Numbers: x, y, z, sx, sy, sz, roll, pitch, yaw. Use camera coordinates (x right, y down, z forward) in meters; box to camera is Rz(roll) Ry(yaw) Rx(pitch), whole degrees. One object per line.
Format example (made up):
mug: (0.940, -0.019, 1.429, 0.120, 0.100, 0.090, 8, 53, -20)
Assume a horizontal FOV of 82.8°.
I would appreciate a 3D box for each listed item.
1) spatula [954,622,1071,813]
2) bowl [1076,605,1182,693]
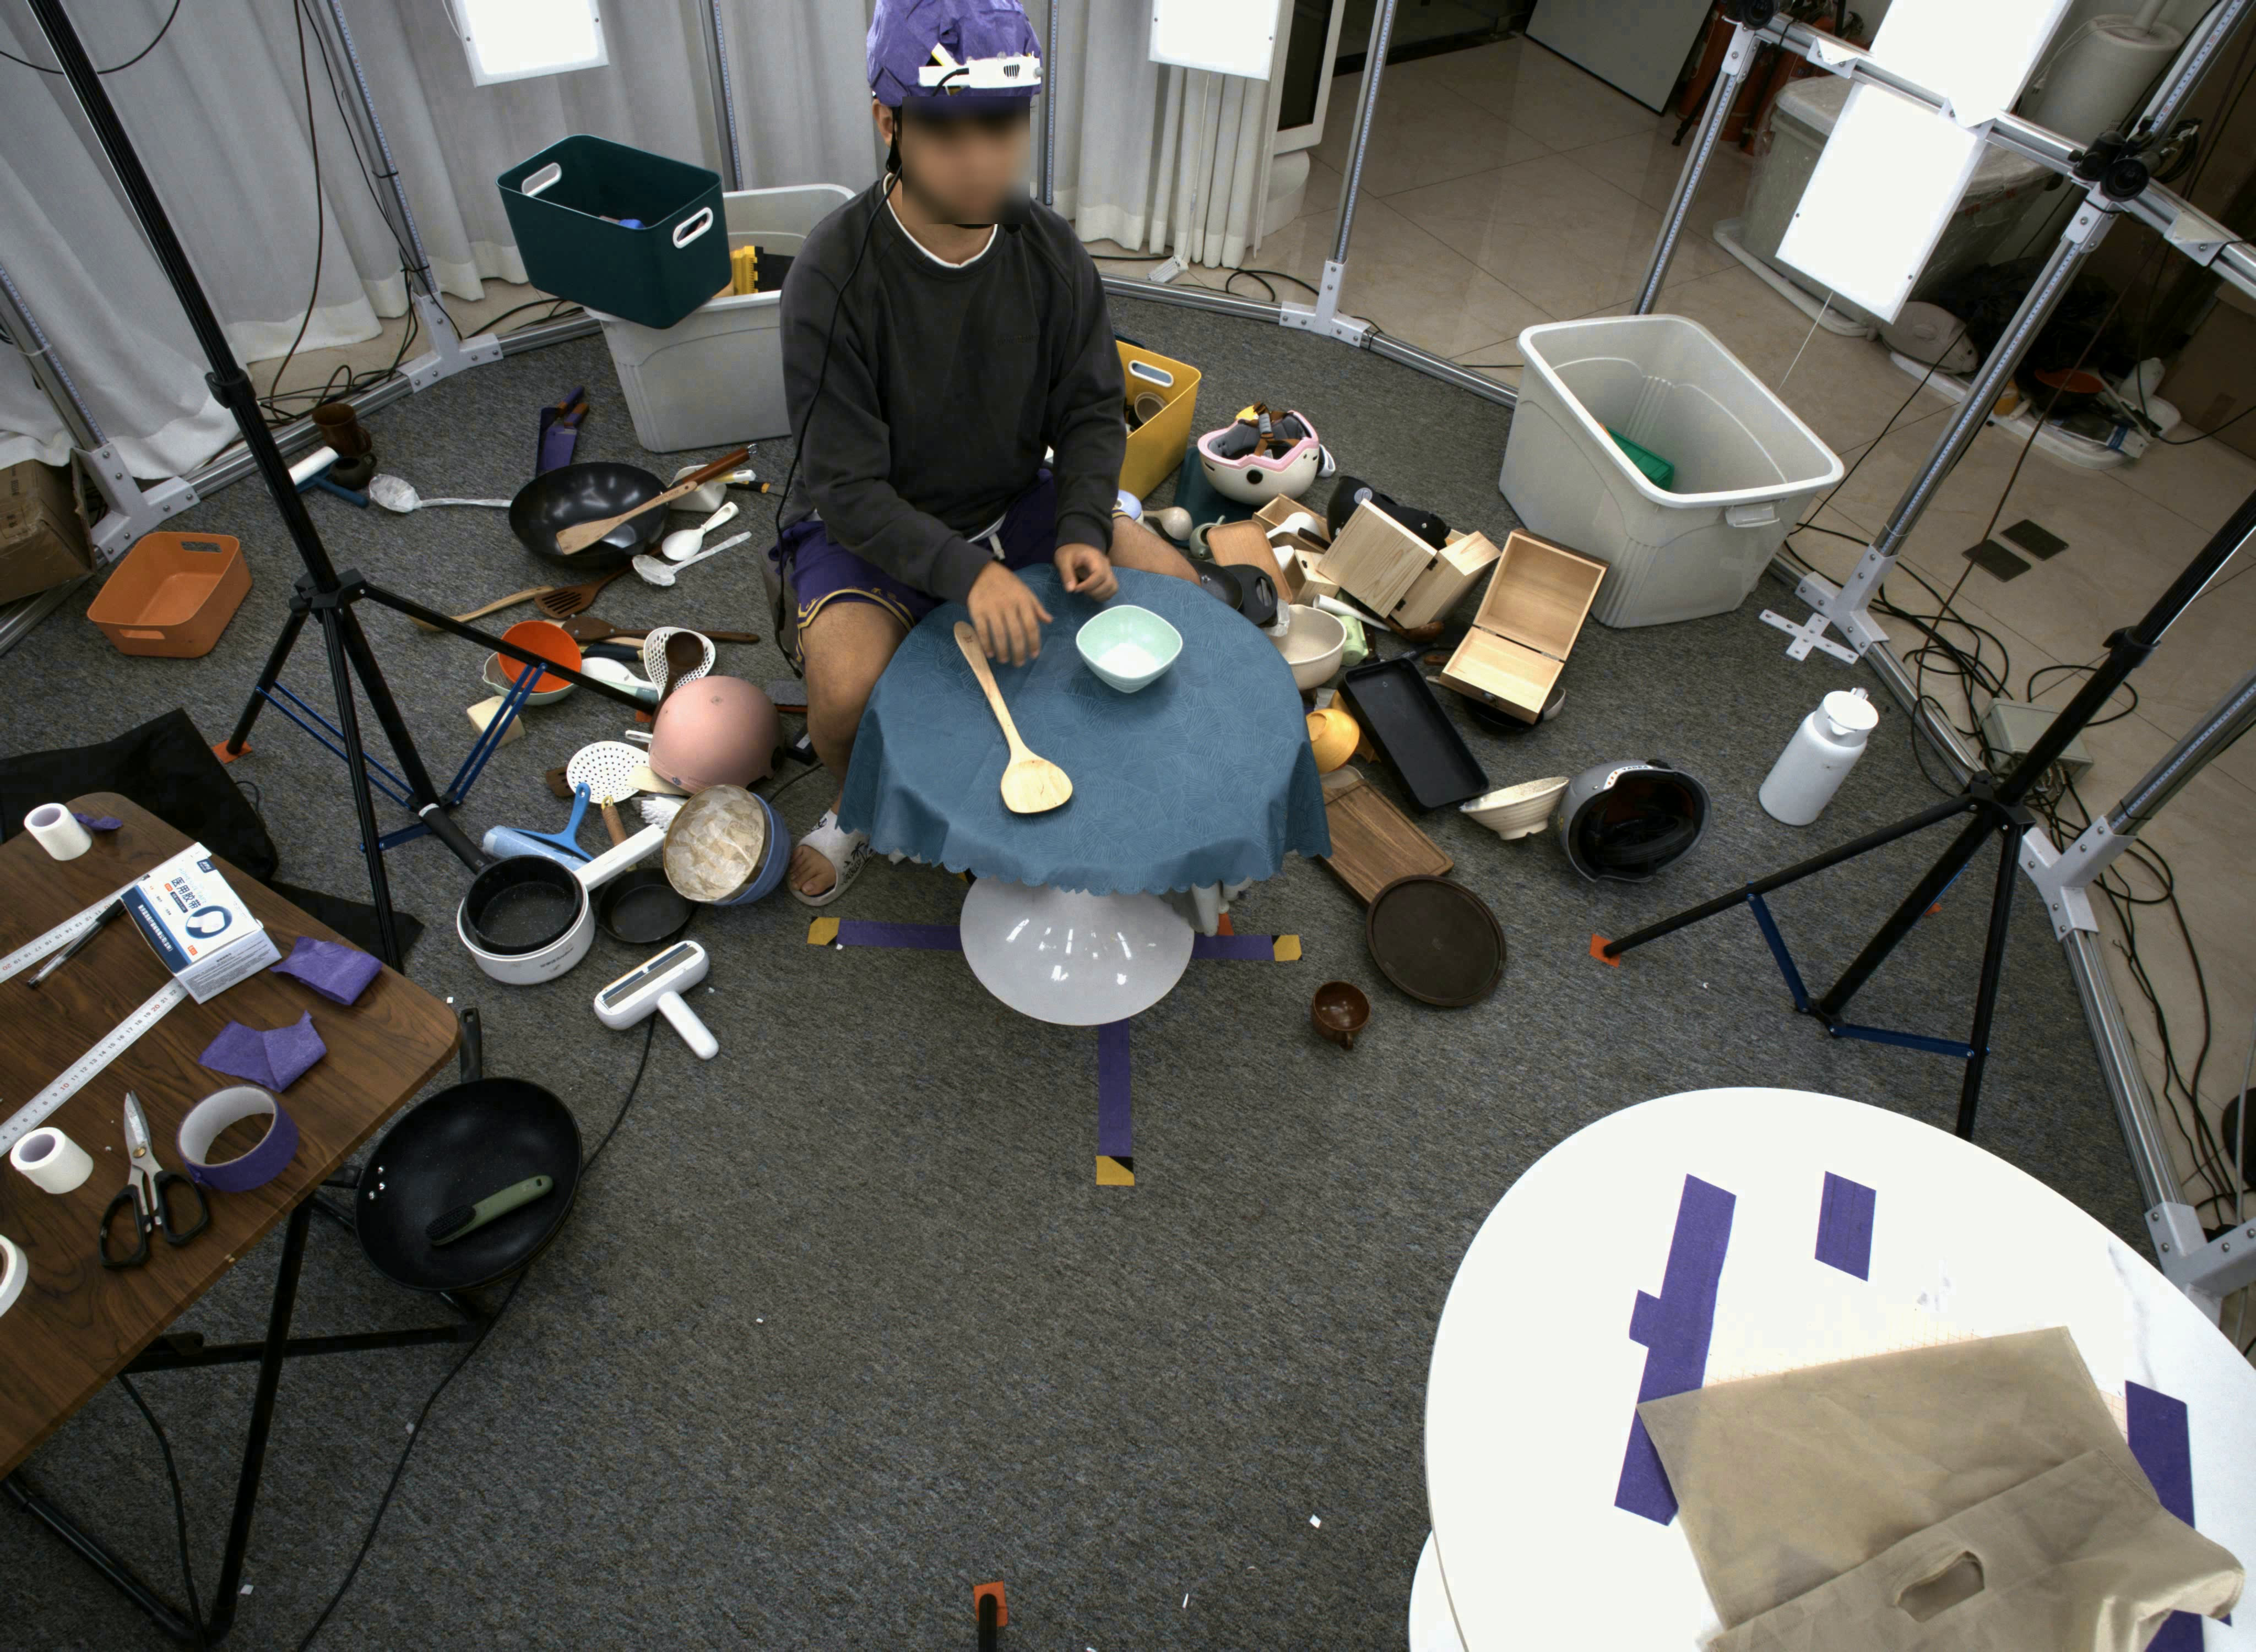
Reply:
spatula: (-0.181, -0.159, 1.781, 0.096, 0.018, 0.400, -13, 51, -17)
bowl: (0.000, -0.246, 1.845, 0.151, 0.057, 0.155, 3, 50, -3)
